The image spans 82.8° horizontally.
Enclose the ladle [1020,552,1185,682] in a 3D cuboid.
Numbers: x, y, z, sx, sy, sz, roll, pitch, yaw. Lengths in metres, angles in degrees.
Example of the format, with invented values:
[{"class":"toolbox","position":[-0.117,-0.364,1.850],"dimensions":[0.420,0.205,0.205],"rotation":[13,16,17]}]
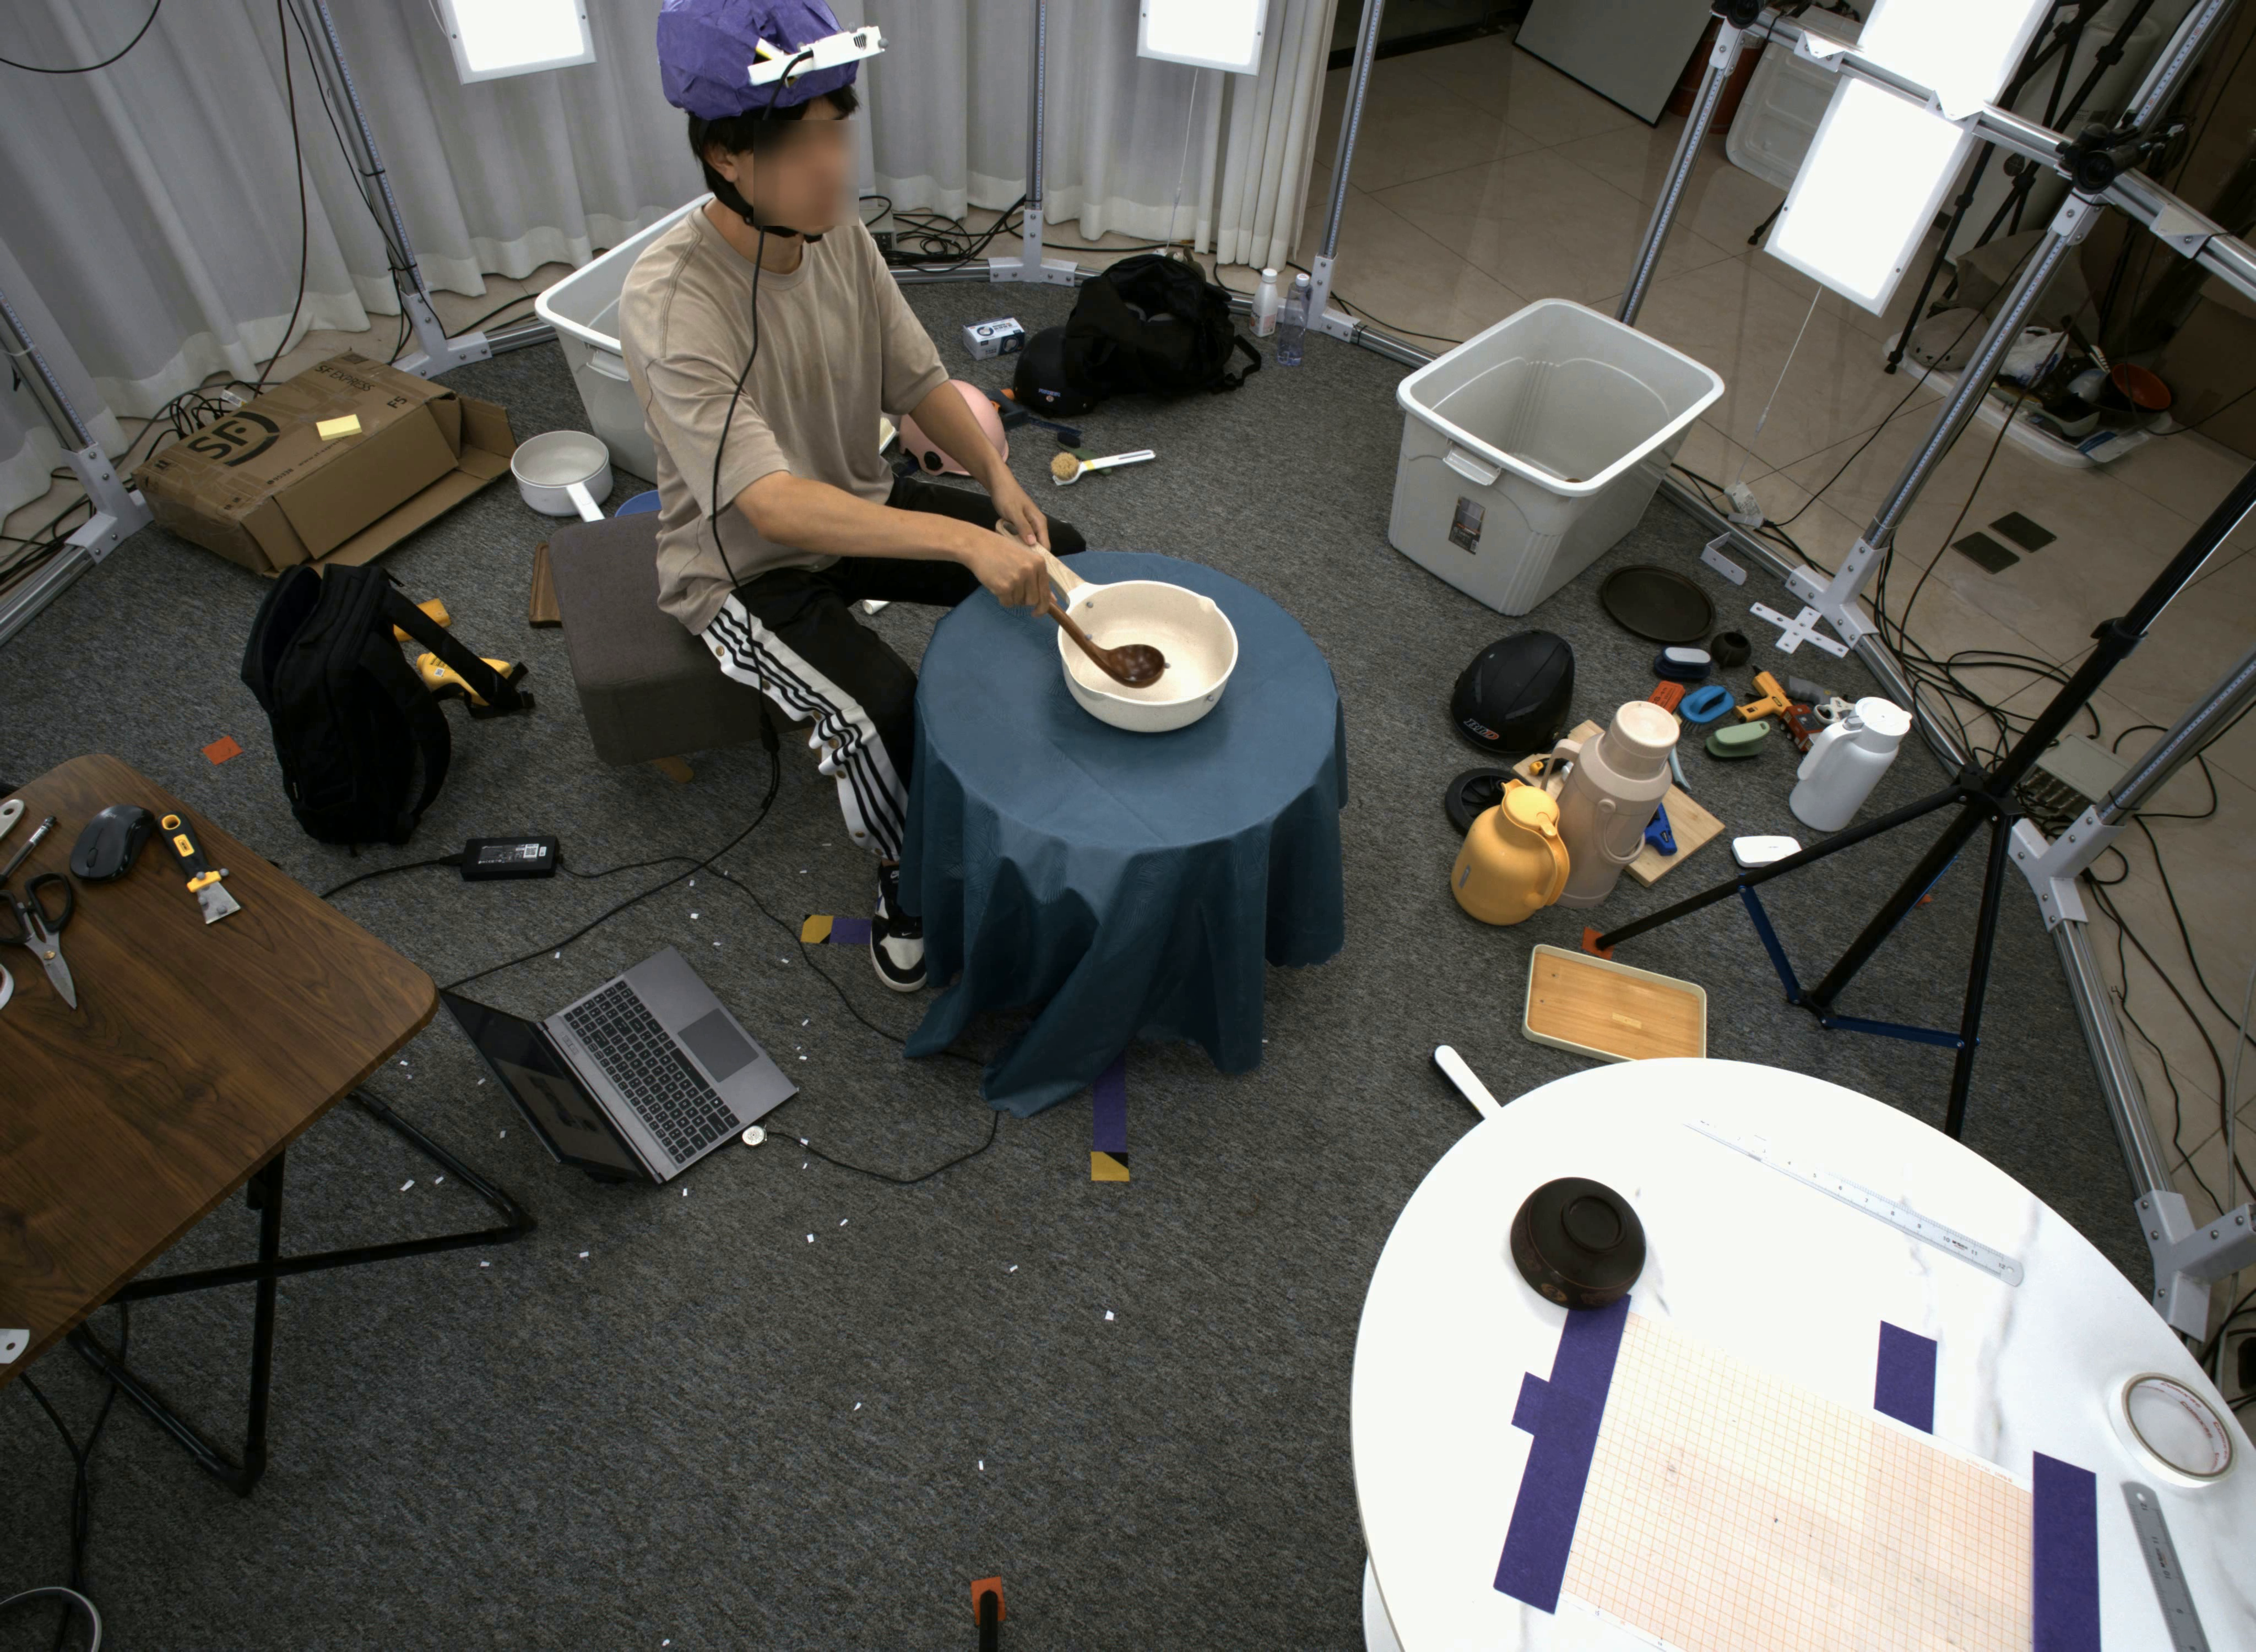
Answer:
[{"class":"ladle","position":[-0.026,-0.283,1.692],"dimensions":[0.076,0.269,0.084],"rotation":[-36,38,17]}]

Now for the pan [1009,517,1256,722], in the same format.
[{"class":"pan","position":[-0.015,-0.304,1.853],"dimensions":[0.441,0.099,0.266],"rotation":[38,57,26]}]
